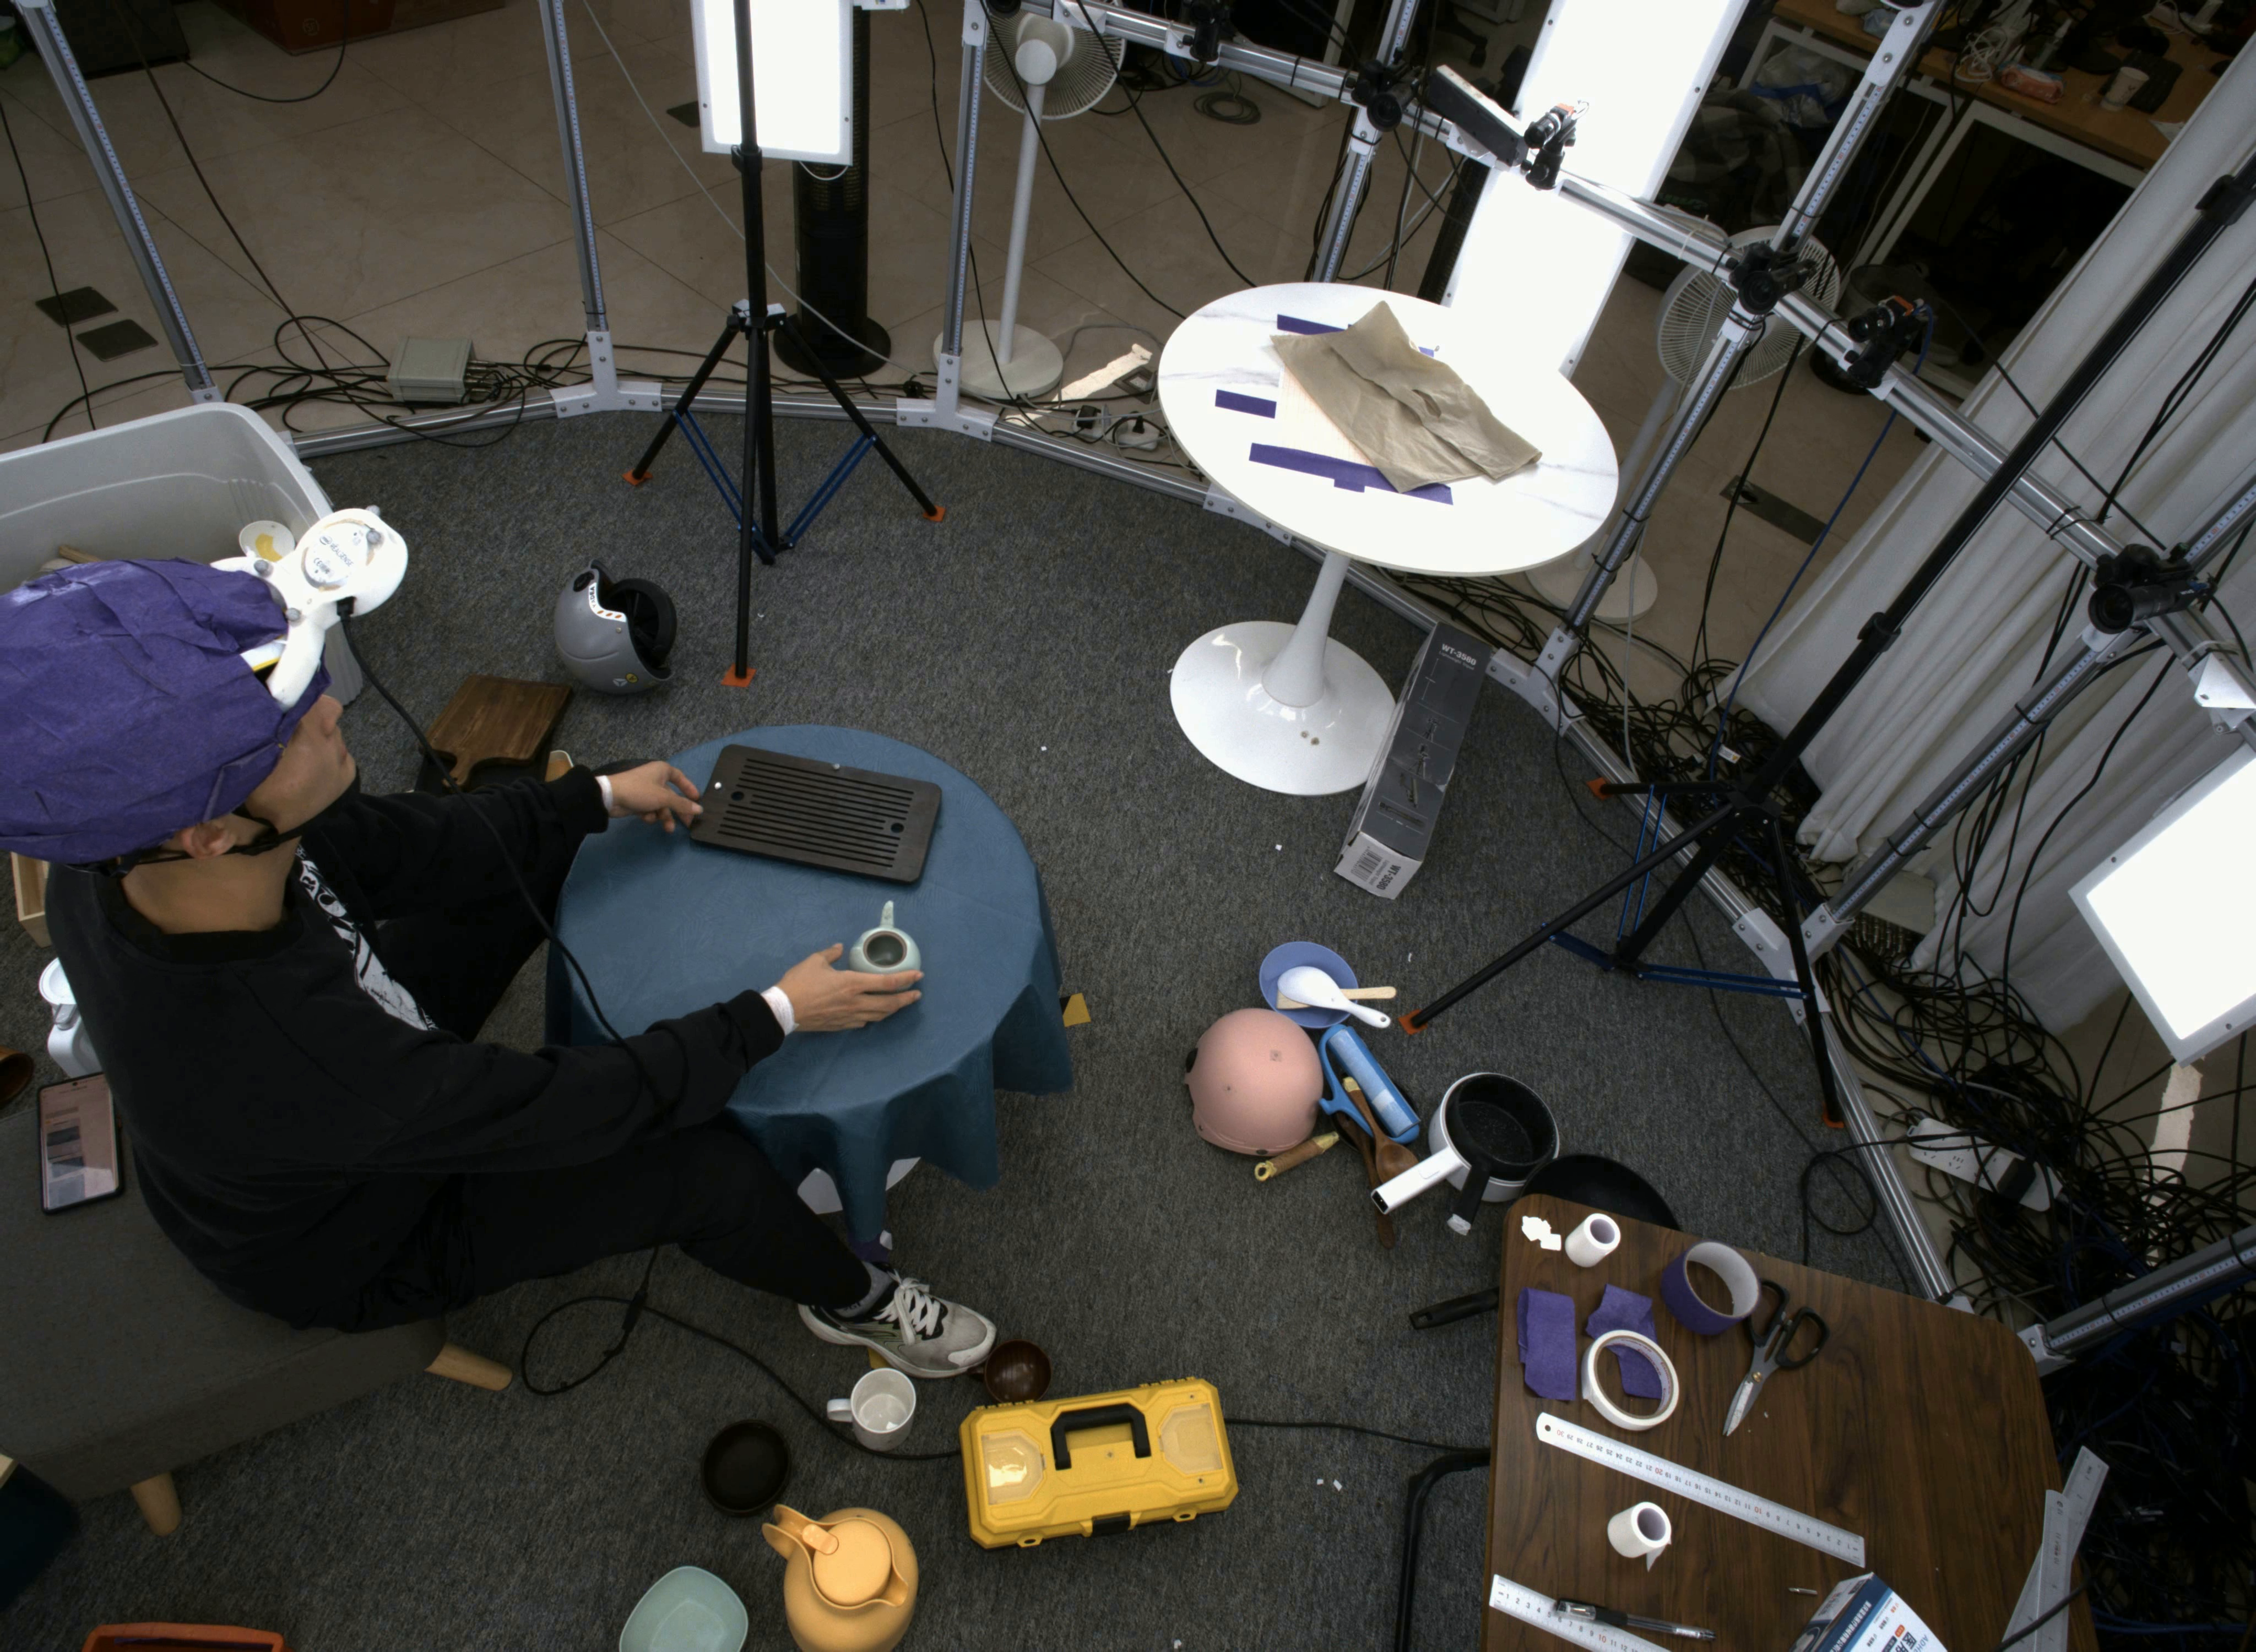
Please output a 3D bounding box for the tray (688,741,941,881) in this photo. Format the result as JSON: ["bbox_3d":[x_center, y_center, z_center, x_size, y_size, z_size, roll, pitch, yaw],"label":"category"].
[{"bbox_3d":[-0.413,-0.020,1.728,0.304,0.019,0.167,11,52,-6],"label":"tray"}]

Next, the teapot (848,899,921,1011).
[{"bbox_3d":[-0.297,0.164,1.585,0.088,0.076,0.141,5,51,-9],"label":"teapot"}]
